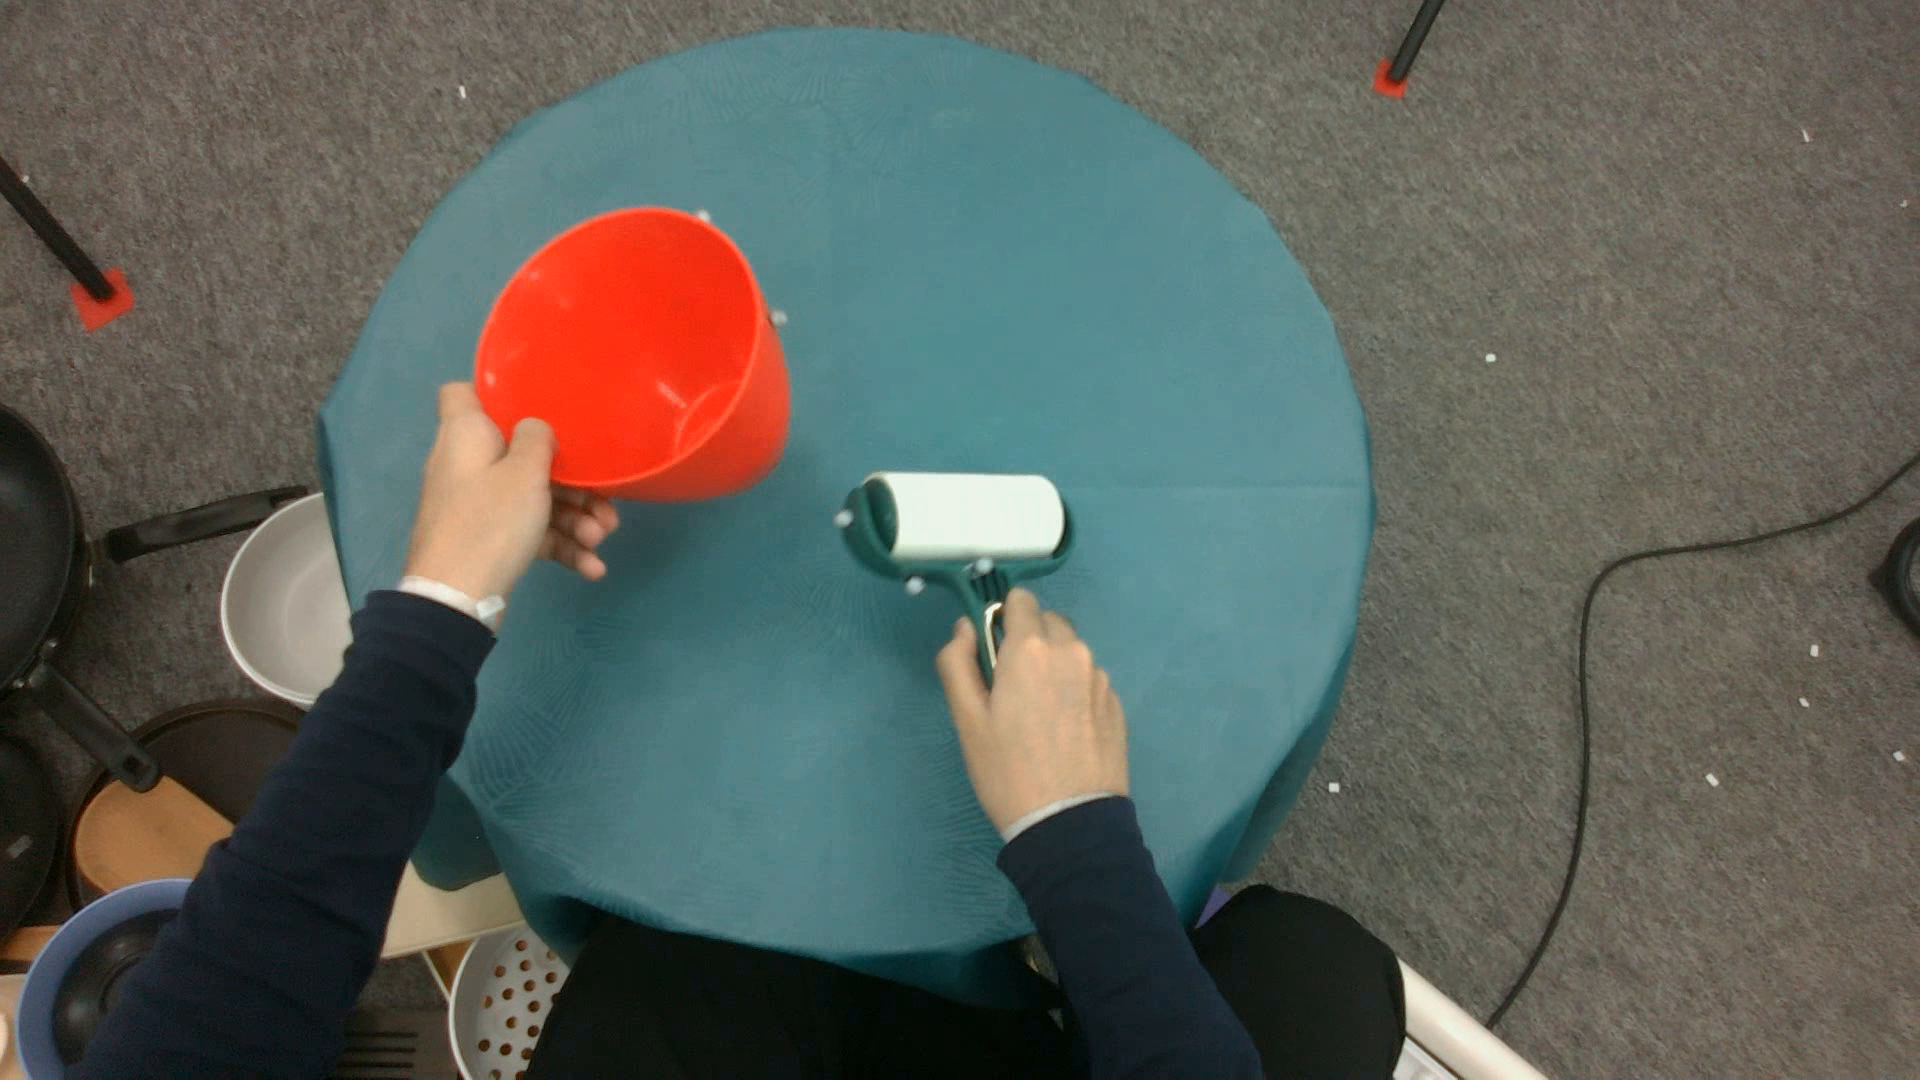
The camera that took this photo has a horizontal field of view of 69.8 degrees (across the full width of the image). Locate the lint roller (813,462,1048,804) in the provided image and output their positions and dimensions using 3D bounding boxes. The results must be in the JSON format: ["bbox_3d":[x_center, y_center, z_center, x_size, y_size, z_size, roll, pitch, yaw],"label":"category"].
[{"bbox_3d":[0.007,0.039,0.682,0.135,0.048,0.180,-2,58,-35],"label":"lint roller"}]

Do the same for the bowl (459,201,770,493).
[{"bbox_3d":[-0.158,-0.083,0.693,0.147,0.104,0.148,-10,64,20],"label":"bowl"}]
